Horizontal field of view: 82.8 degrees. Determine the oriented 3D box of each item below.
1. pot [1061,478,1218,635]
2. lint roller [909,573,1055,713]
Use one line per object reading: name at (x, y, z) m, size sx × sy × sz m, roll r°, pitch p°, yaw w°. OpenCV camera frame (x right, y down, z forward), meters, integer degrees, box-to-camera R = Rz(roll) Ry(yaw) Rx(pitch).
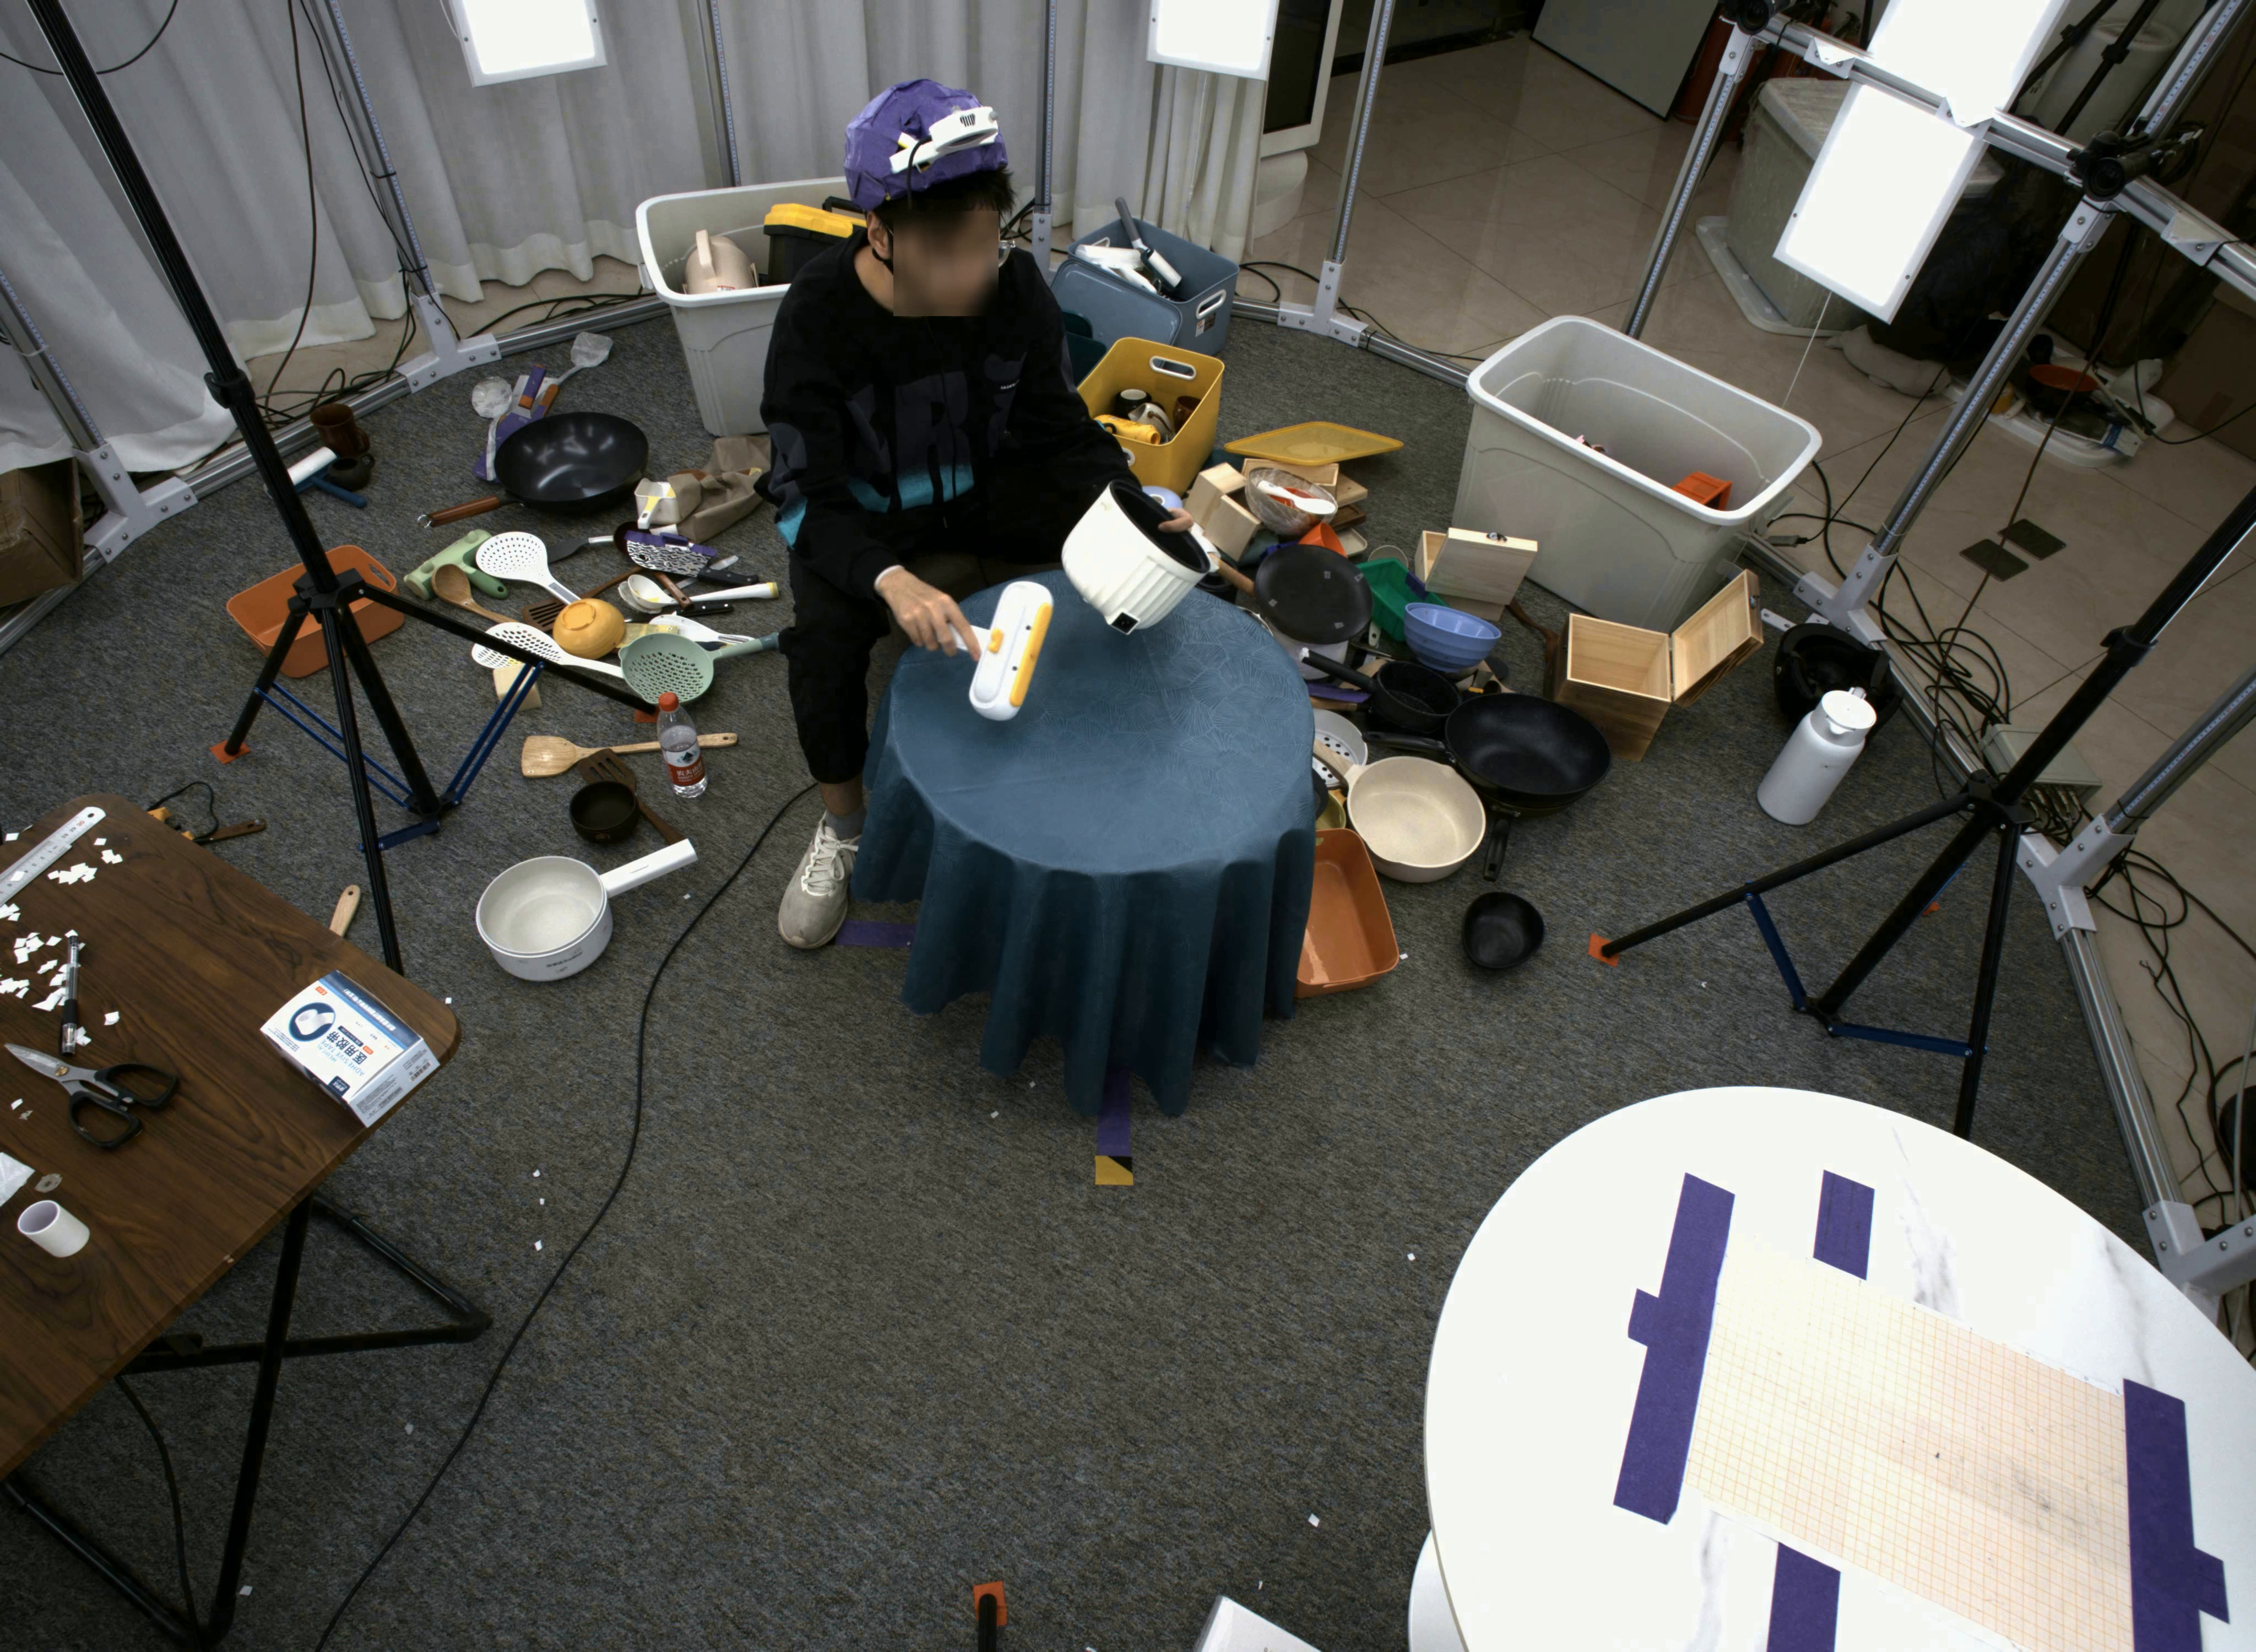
pot at (0.000, -0.376, 1.799) m, size 0.237 × 0.141 × 0.195 m, roll 24°, pitch 33°, yaw -39°
lint roller at (-0.206, -0.259, 1.753) m, size 0.194 × 0.073 × 0.193 m, roll 12°, pitch 87°, yaw 27°
